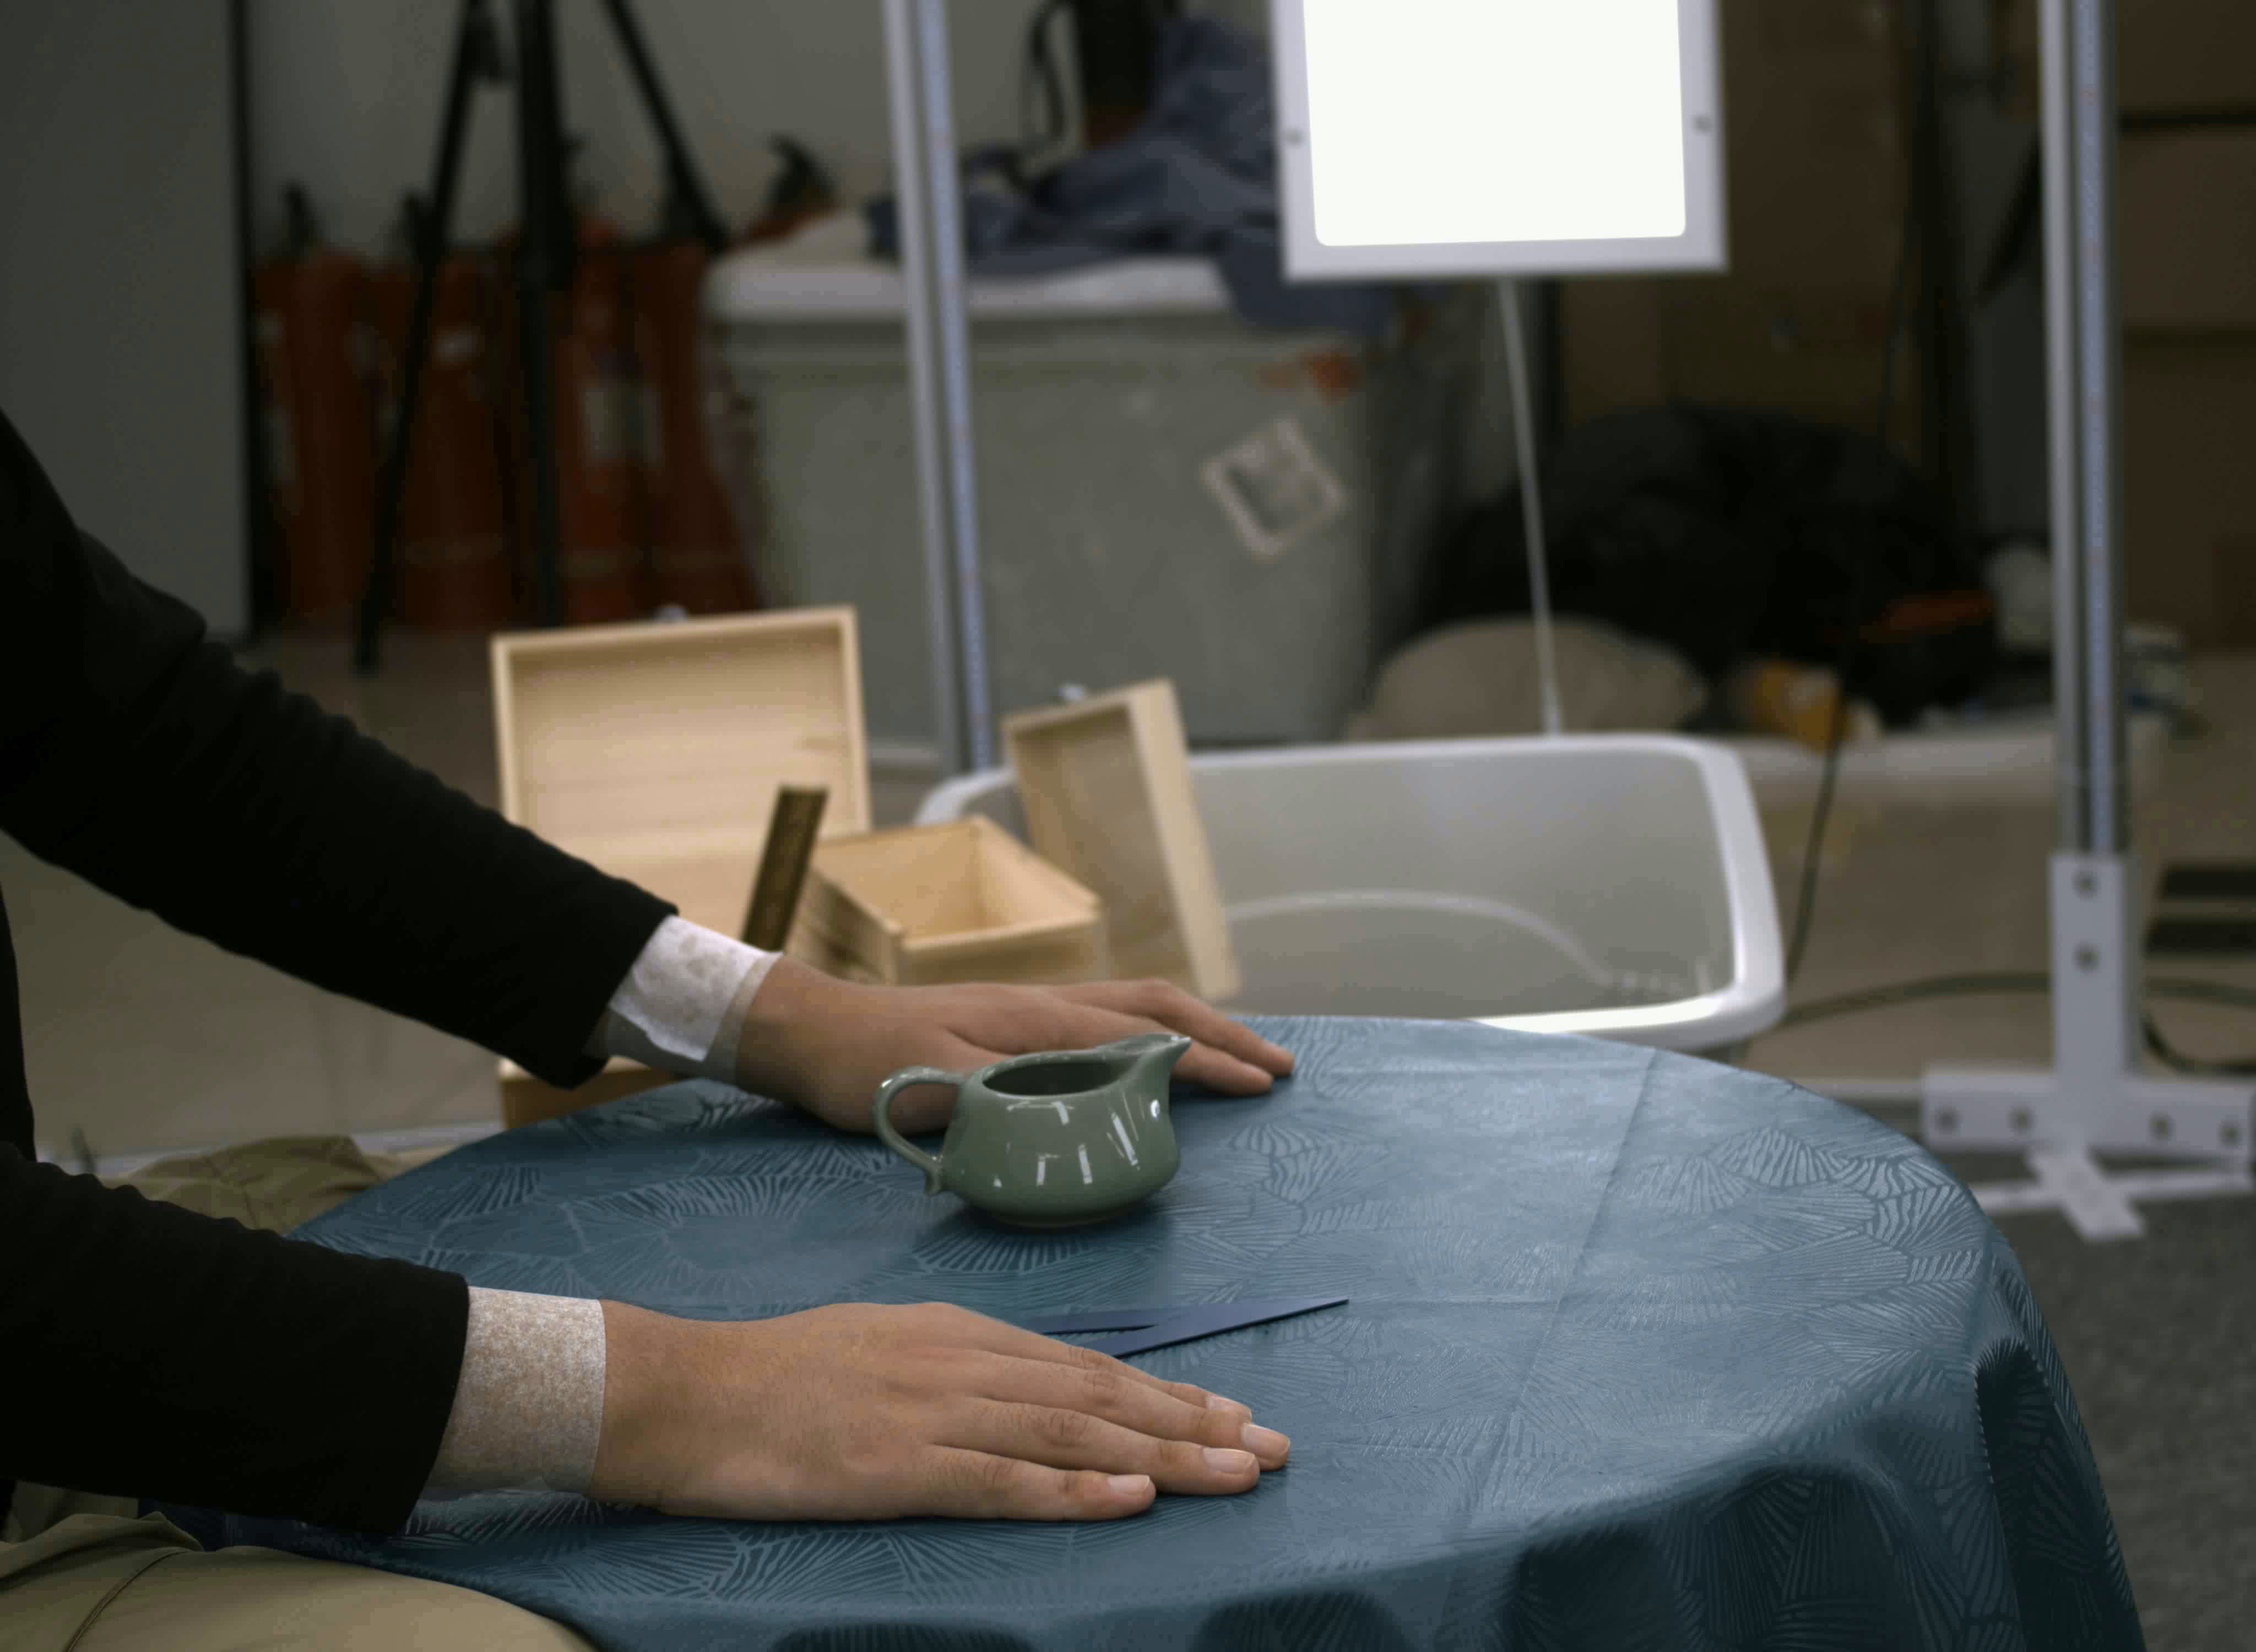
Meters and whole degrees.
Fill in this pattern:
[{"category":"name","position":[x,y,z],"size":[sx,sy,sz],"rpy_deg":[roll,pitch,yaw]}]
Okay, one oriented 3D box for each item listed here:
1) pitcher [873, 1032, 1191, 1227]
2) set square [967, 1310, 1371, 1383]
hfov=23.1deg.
[{"category":"pitcher","position":[-0.031,0.104,1.884],"size":[0.111,0.056,0.085],"rpy_deg":[-7,12,-9]},{"category":"set square","position":[0.010,0.163,1.737],"size":[0.132,0.006,0.060],"rpy_deg":[-3,13,9]}]
